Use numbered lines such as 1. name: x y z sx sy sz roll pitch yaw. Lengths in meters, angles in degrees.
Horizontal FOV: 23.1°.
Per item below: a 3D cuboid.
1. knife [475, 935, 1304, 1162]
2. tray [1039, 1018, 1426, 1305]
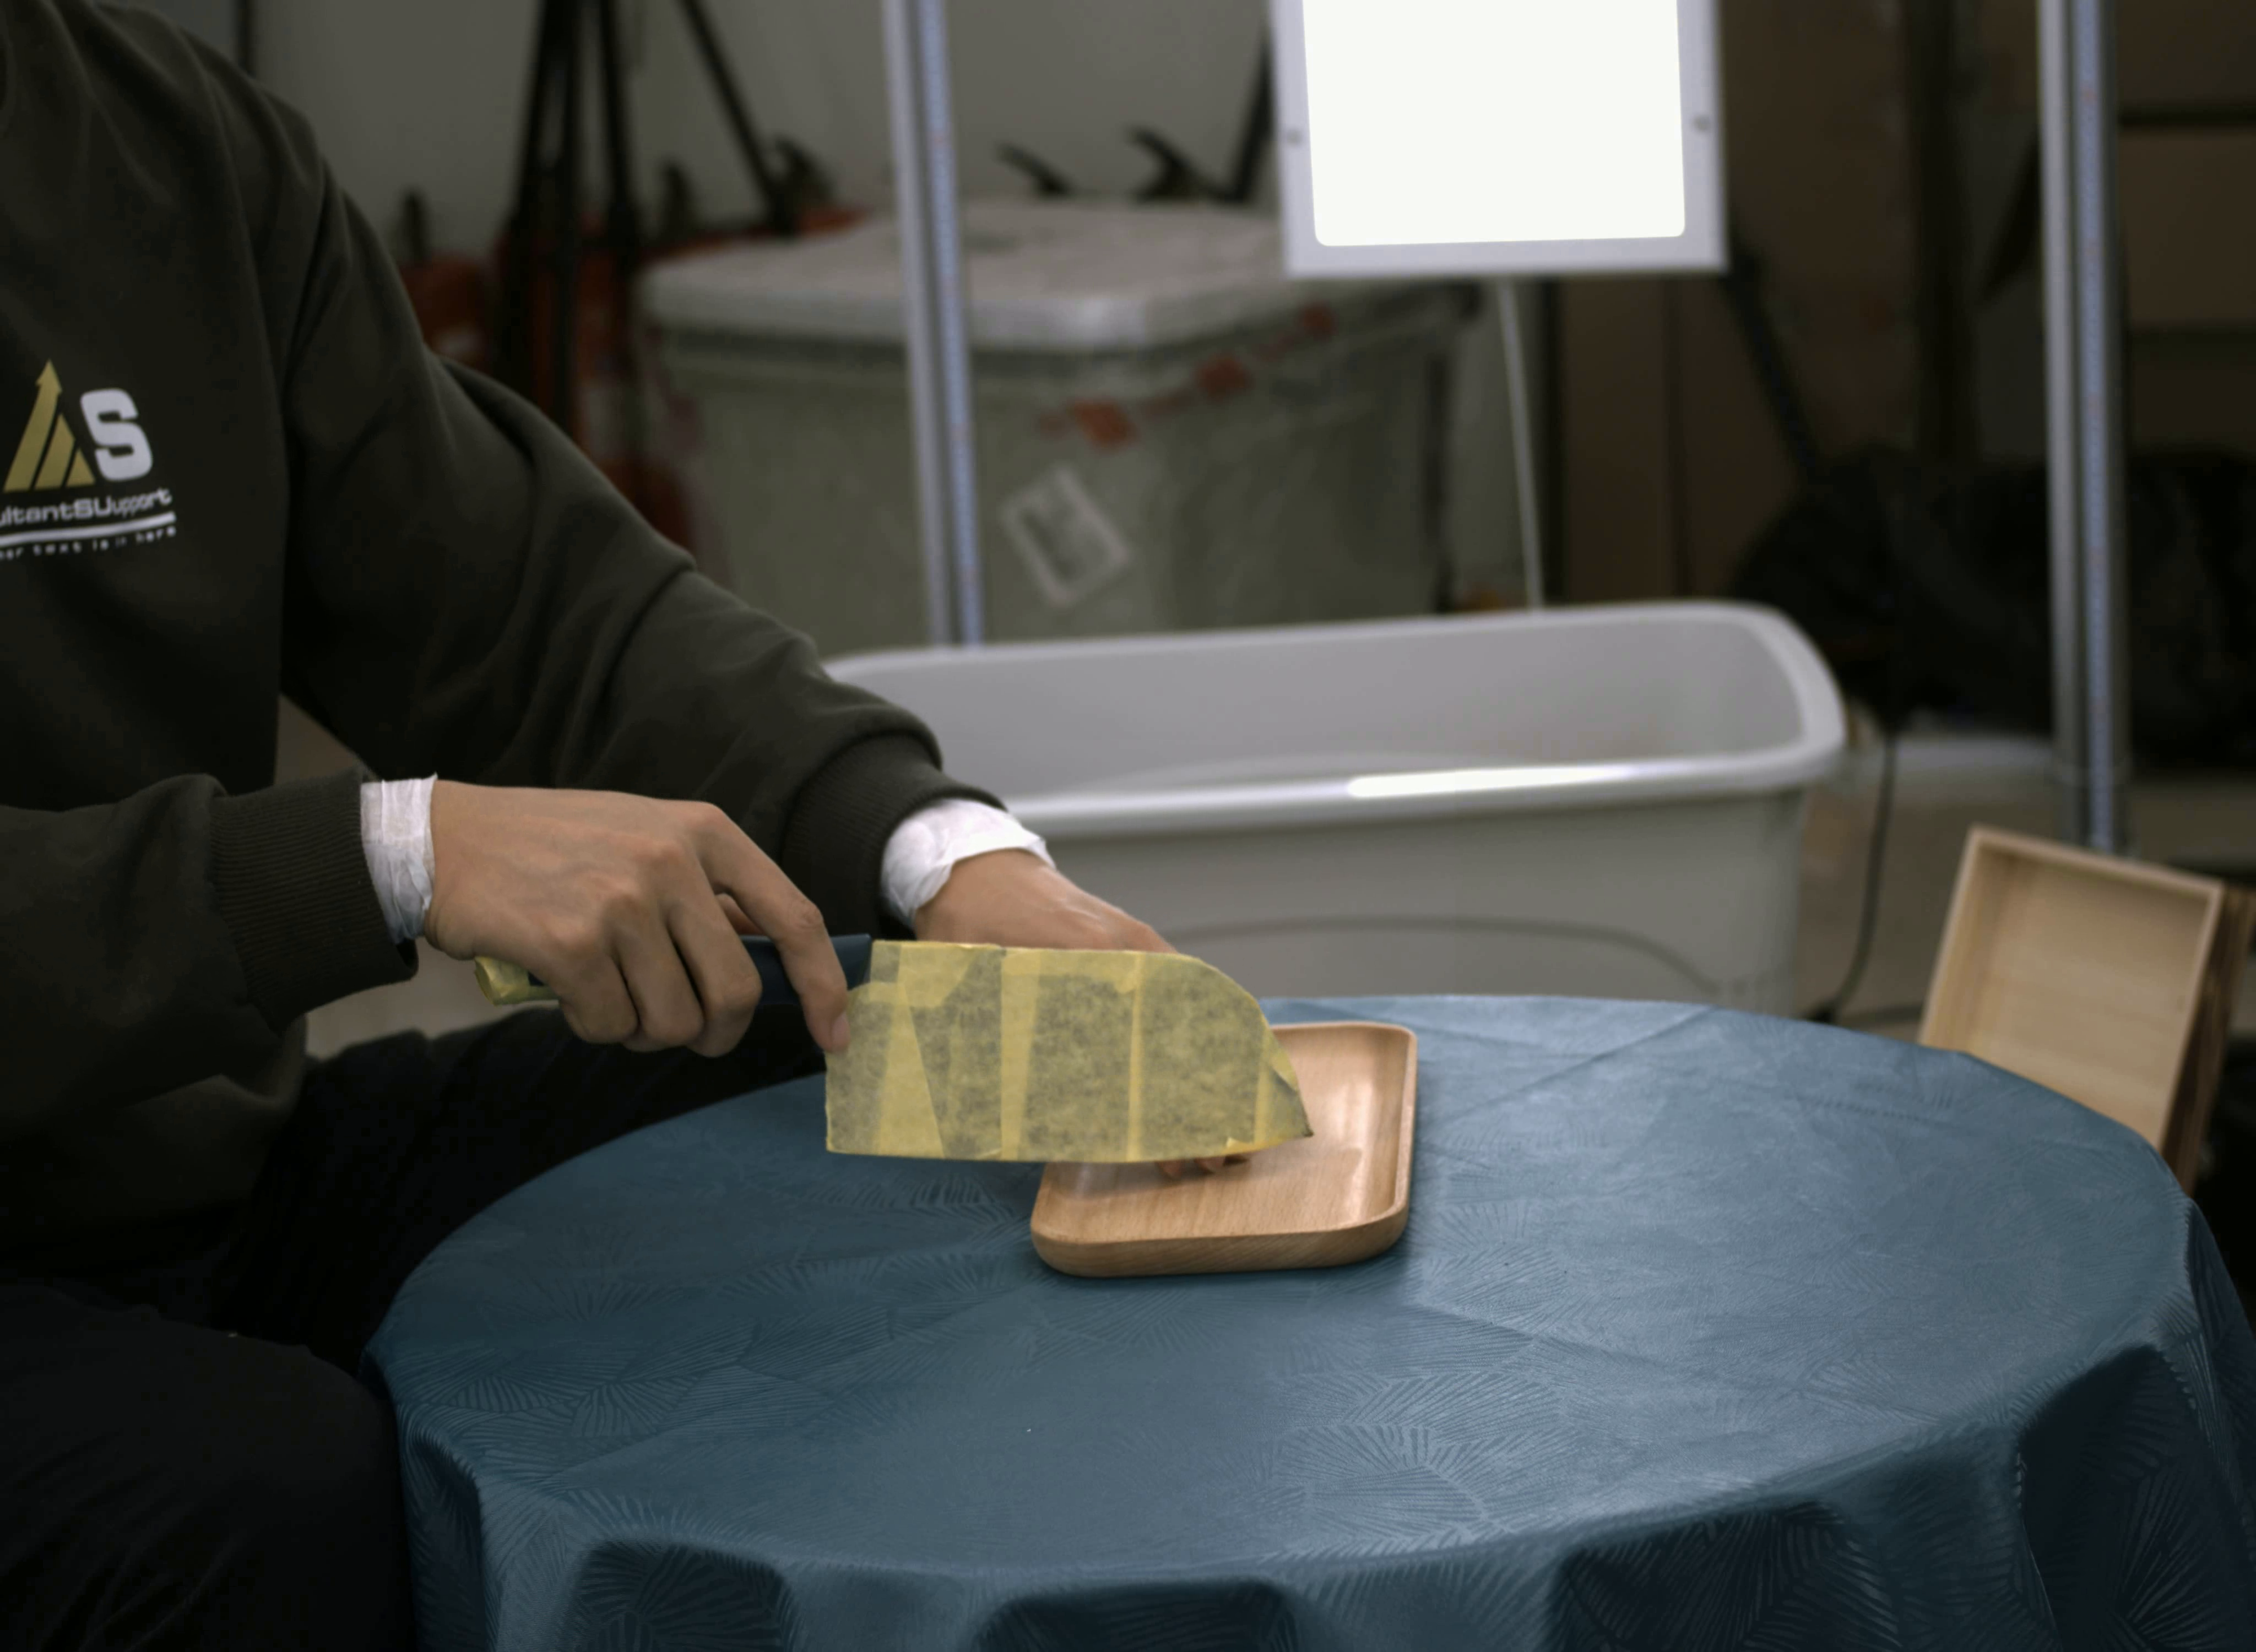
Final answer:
1. knife: -0.078 0.073 1.858 0.286 0.081 0.027 5 -7 -11
2. tray: 0.040 0.115 1.921 0.131 0.023 0.249 -7 17 7
